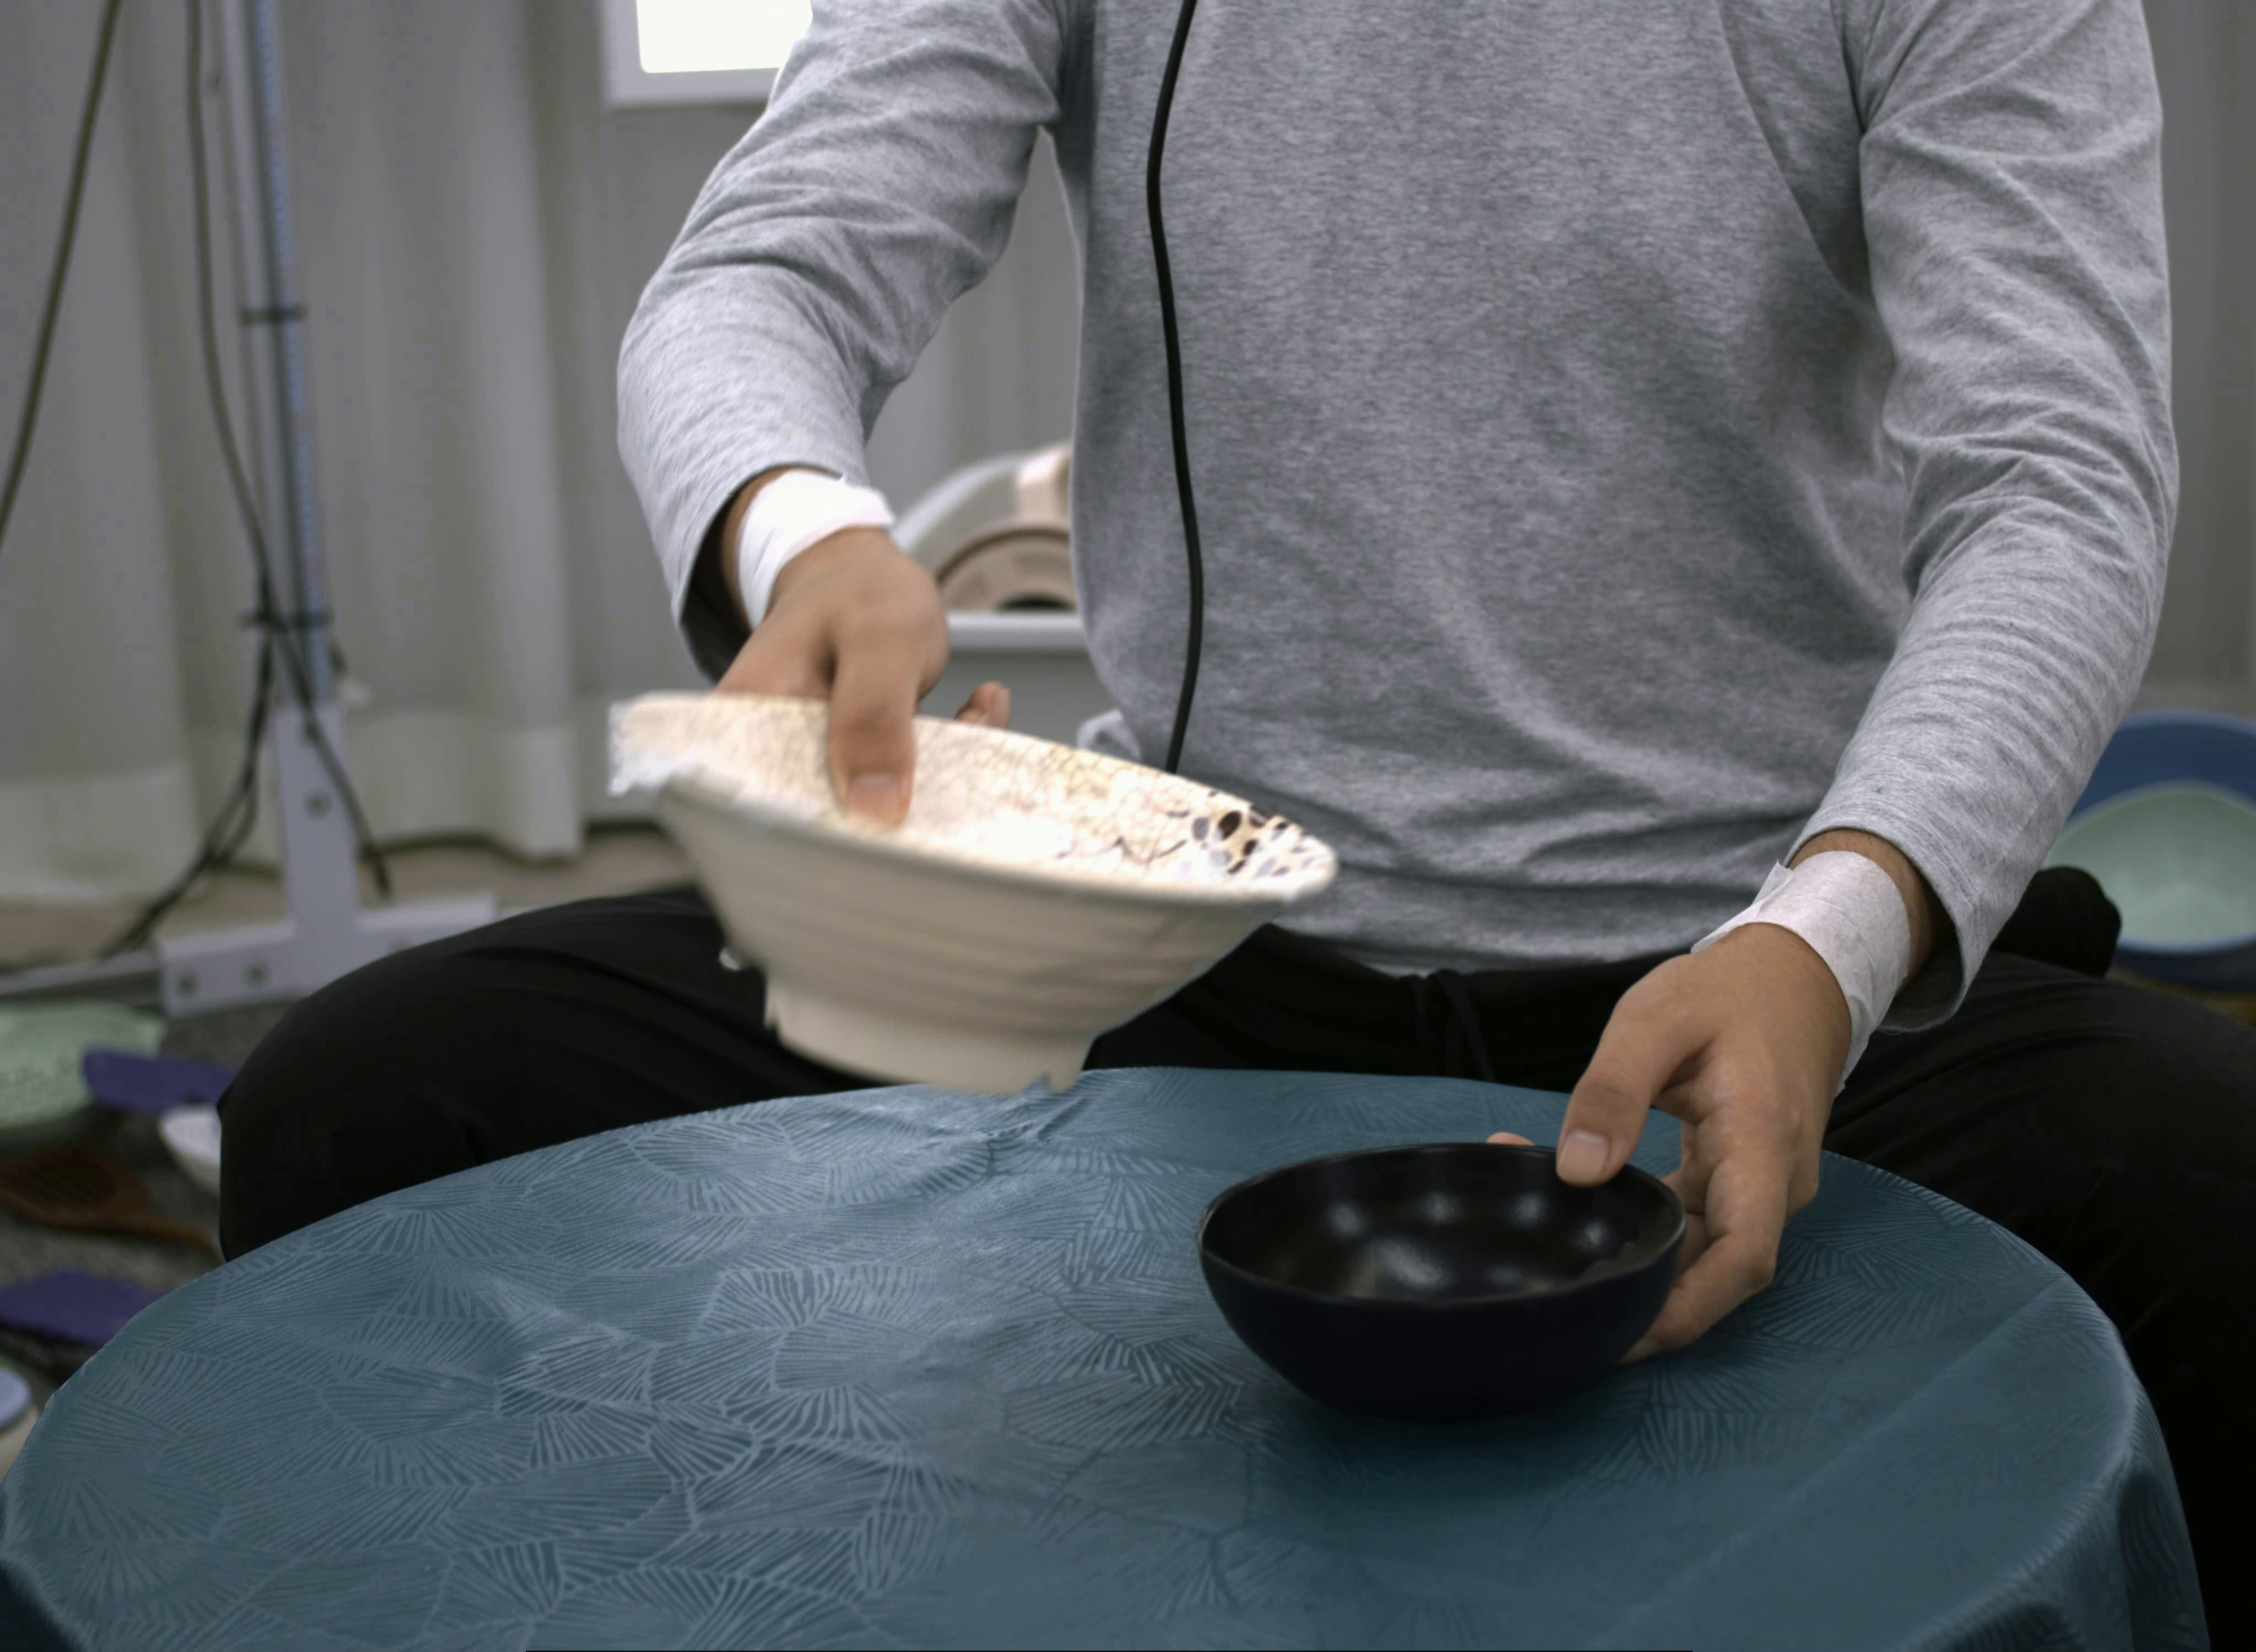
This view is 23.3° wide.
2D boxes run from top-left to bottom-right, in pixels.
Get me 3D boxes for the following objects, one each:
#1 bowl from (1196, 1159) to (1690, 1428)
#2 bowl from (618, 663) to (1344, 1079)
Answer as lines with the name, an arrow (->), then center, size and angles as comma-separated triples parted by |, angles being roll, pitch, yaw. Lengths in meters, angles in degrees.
bowl -> 0.088, 0.135, 1.536 | 0.139, 0.049, 0.141 | 0, 11, 0
bowl -> -0.048, 0.020, 1.492 | 0.203, 0.078, 0.205 | 14, 9, -2
